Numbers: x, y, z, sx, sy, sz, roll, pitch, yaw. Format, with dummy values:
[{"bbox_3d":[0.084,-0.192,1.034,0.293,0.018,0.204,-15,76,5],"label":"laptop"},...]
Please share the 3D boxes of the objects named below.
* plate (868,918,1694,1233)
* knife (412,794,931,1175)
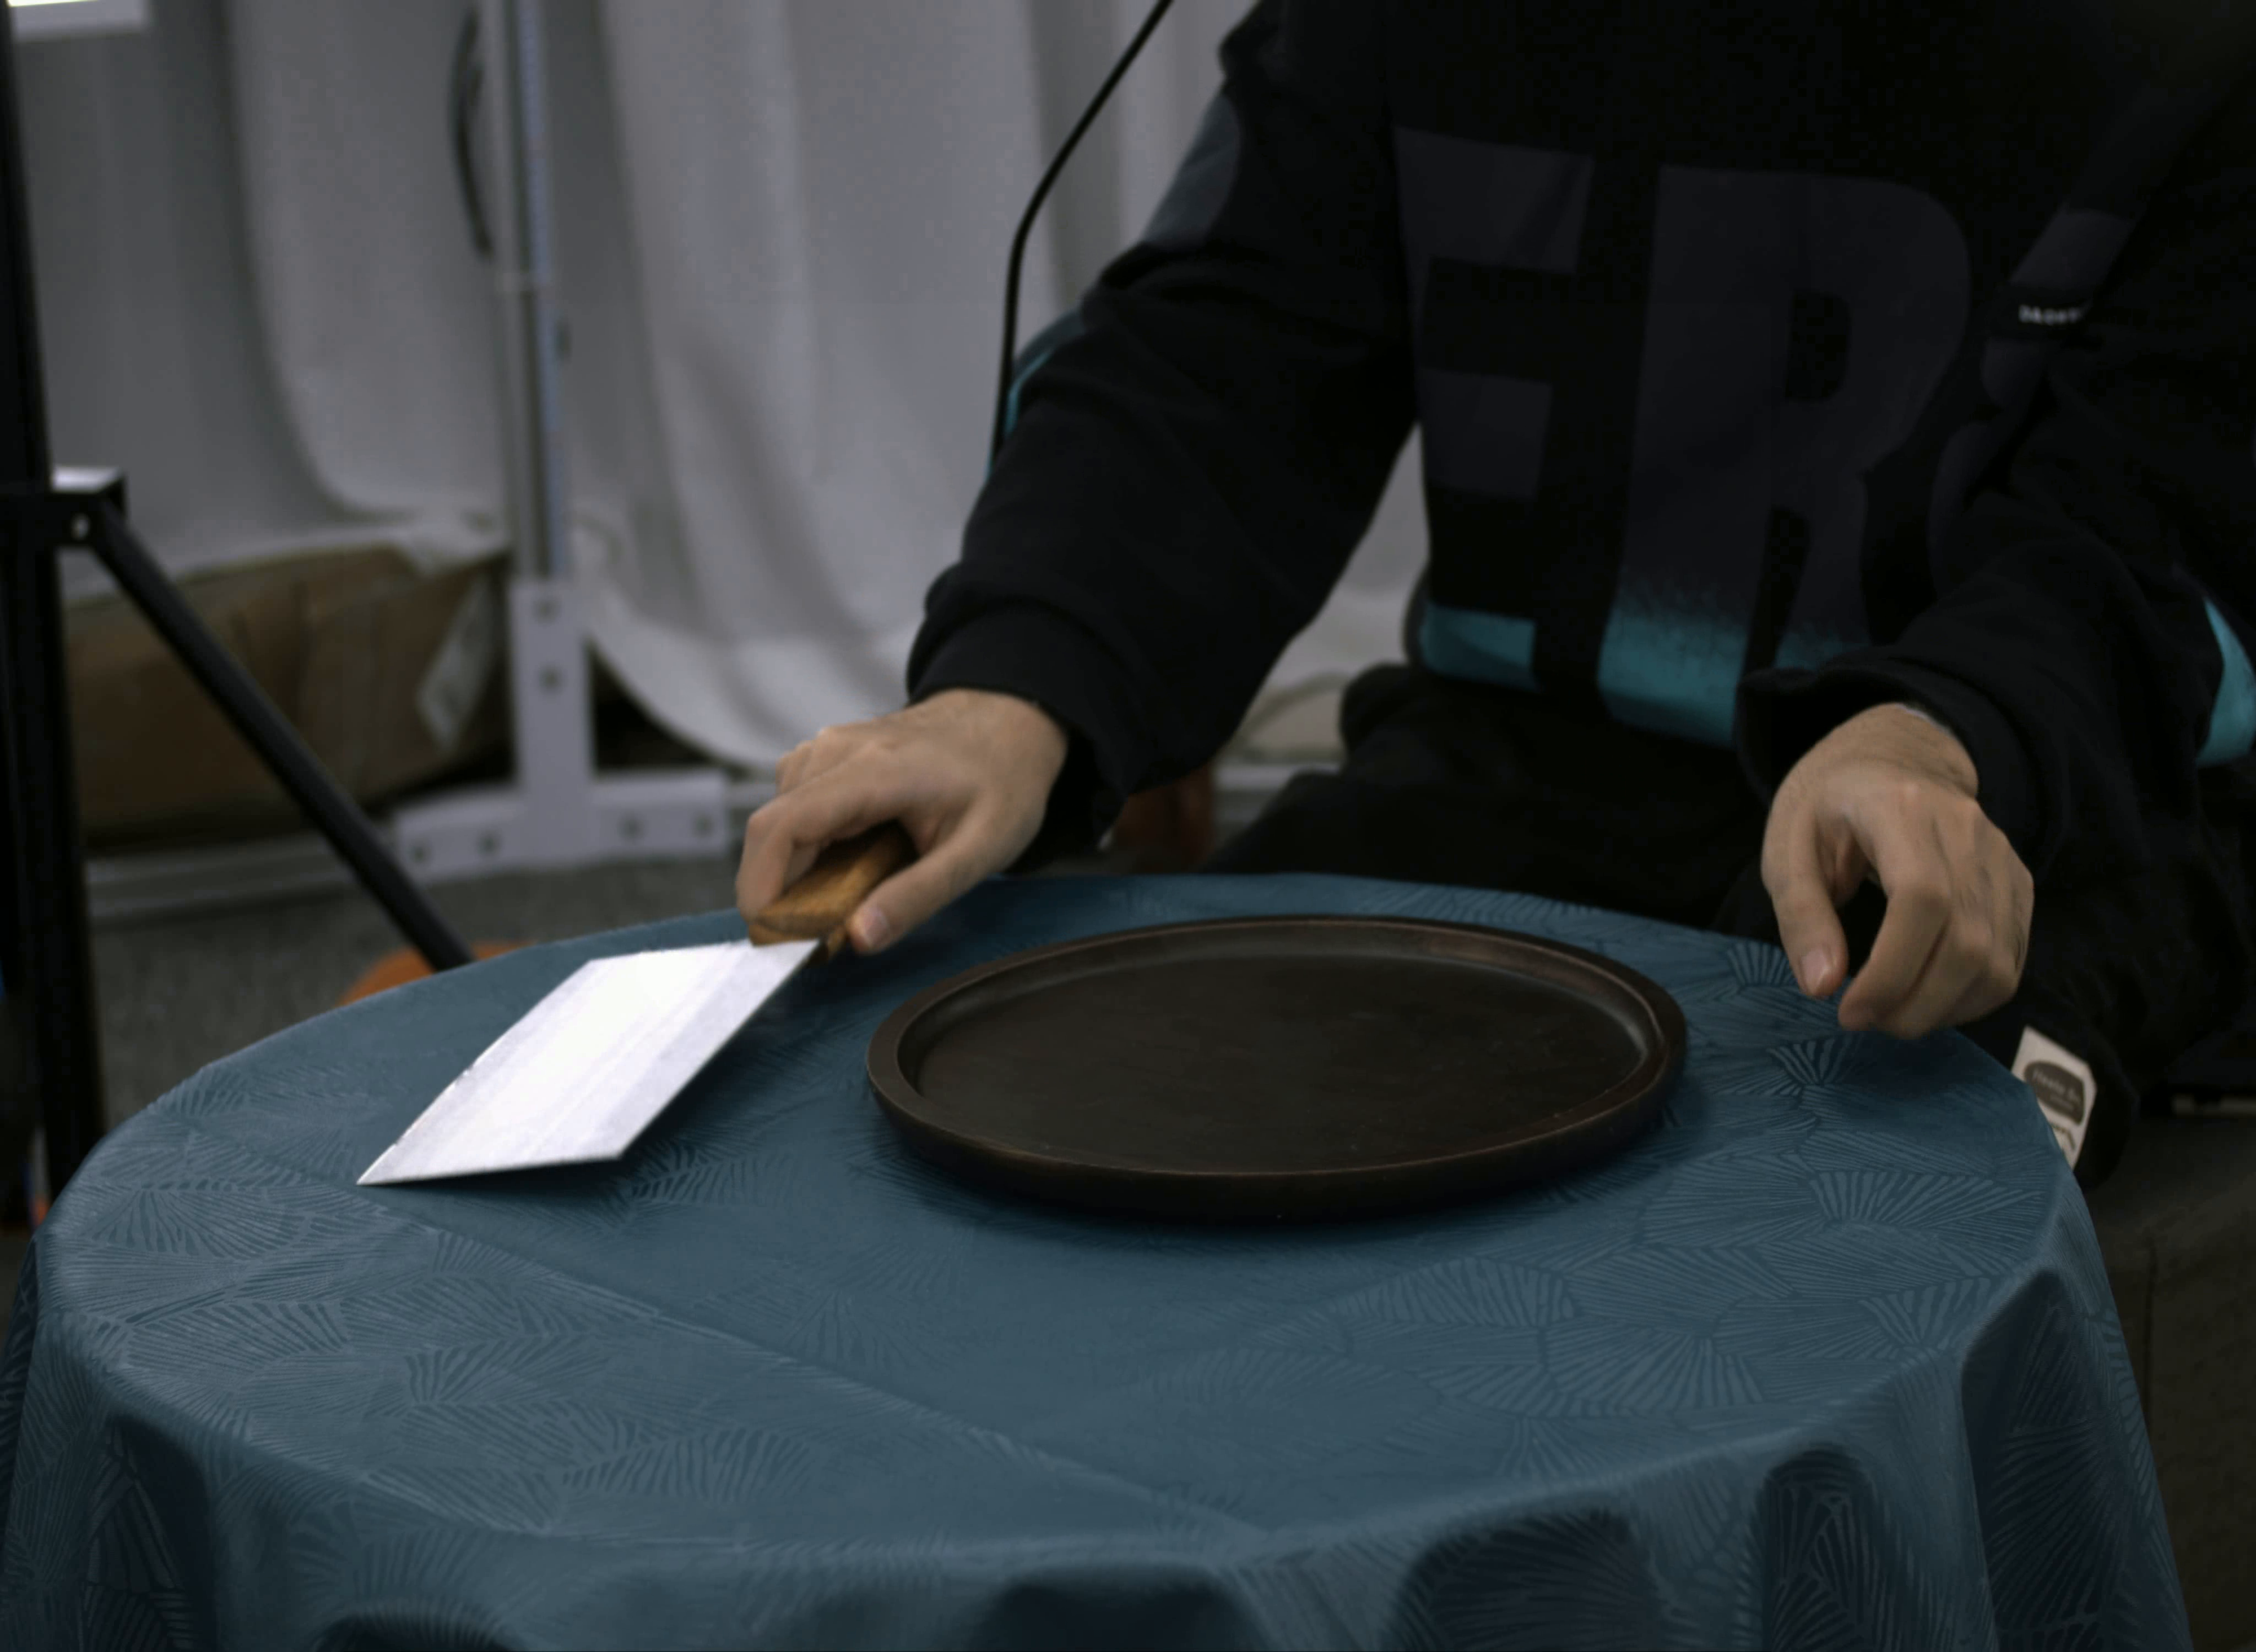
[{"bbox_3d":[0.046,0.073,1.626,0.253,0.029,0.256,-2,17,-1],"label":"plate"},{"bbox_3d":[-0.146,0.051,1.719,0.094,0.021,0.303,-10,16,21],"label":"knife"}]
